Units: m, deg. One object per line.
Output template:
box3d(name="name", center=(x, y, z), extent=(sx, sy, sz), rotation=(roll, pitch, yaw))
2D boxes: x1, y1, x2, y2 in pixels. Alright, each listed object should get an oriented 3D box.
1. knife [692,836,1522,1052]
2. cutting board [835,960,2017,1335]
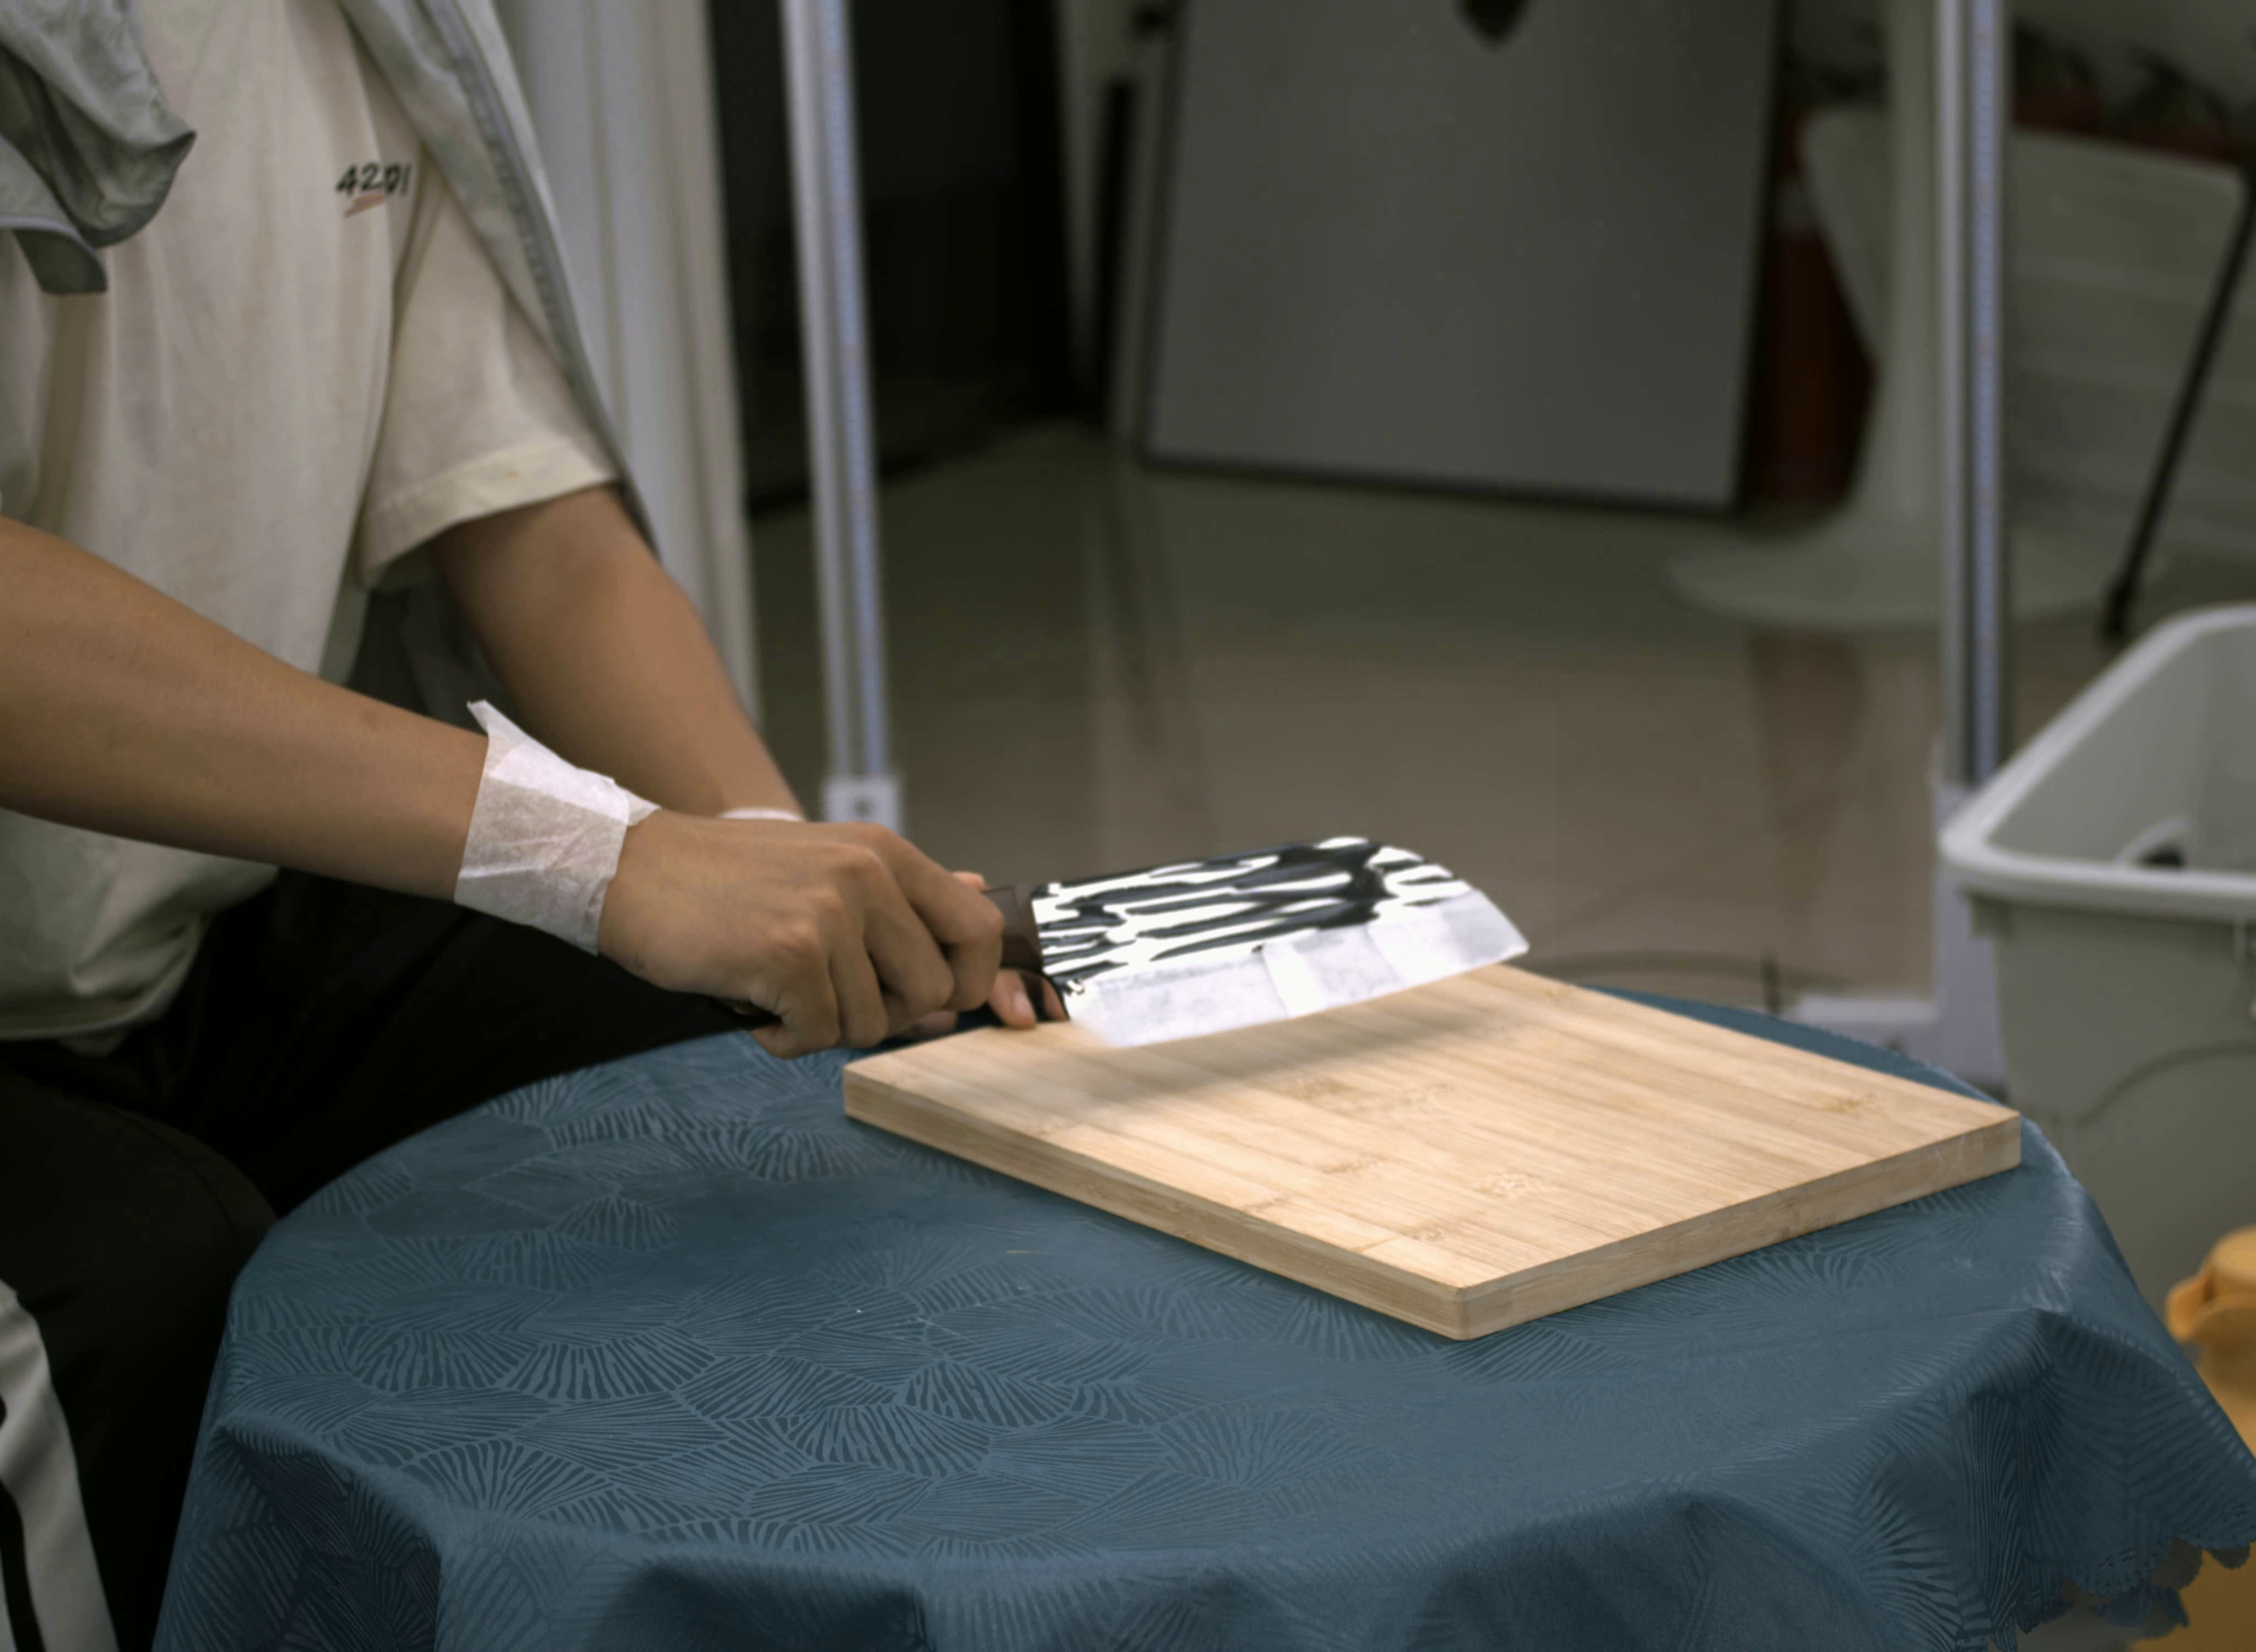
box3d(name="knife", center=(-0.002, 0.044, 1.820), extent=(0.293, 0.069, 0.024), rotation=(-9, -31, -24))
box3d(name="cutting board", center=(0.093, 0.098, 1.811), extent=(0.245, 0.024, 0.352), rotation=(-13, 16, -35))
